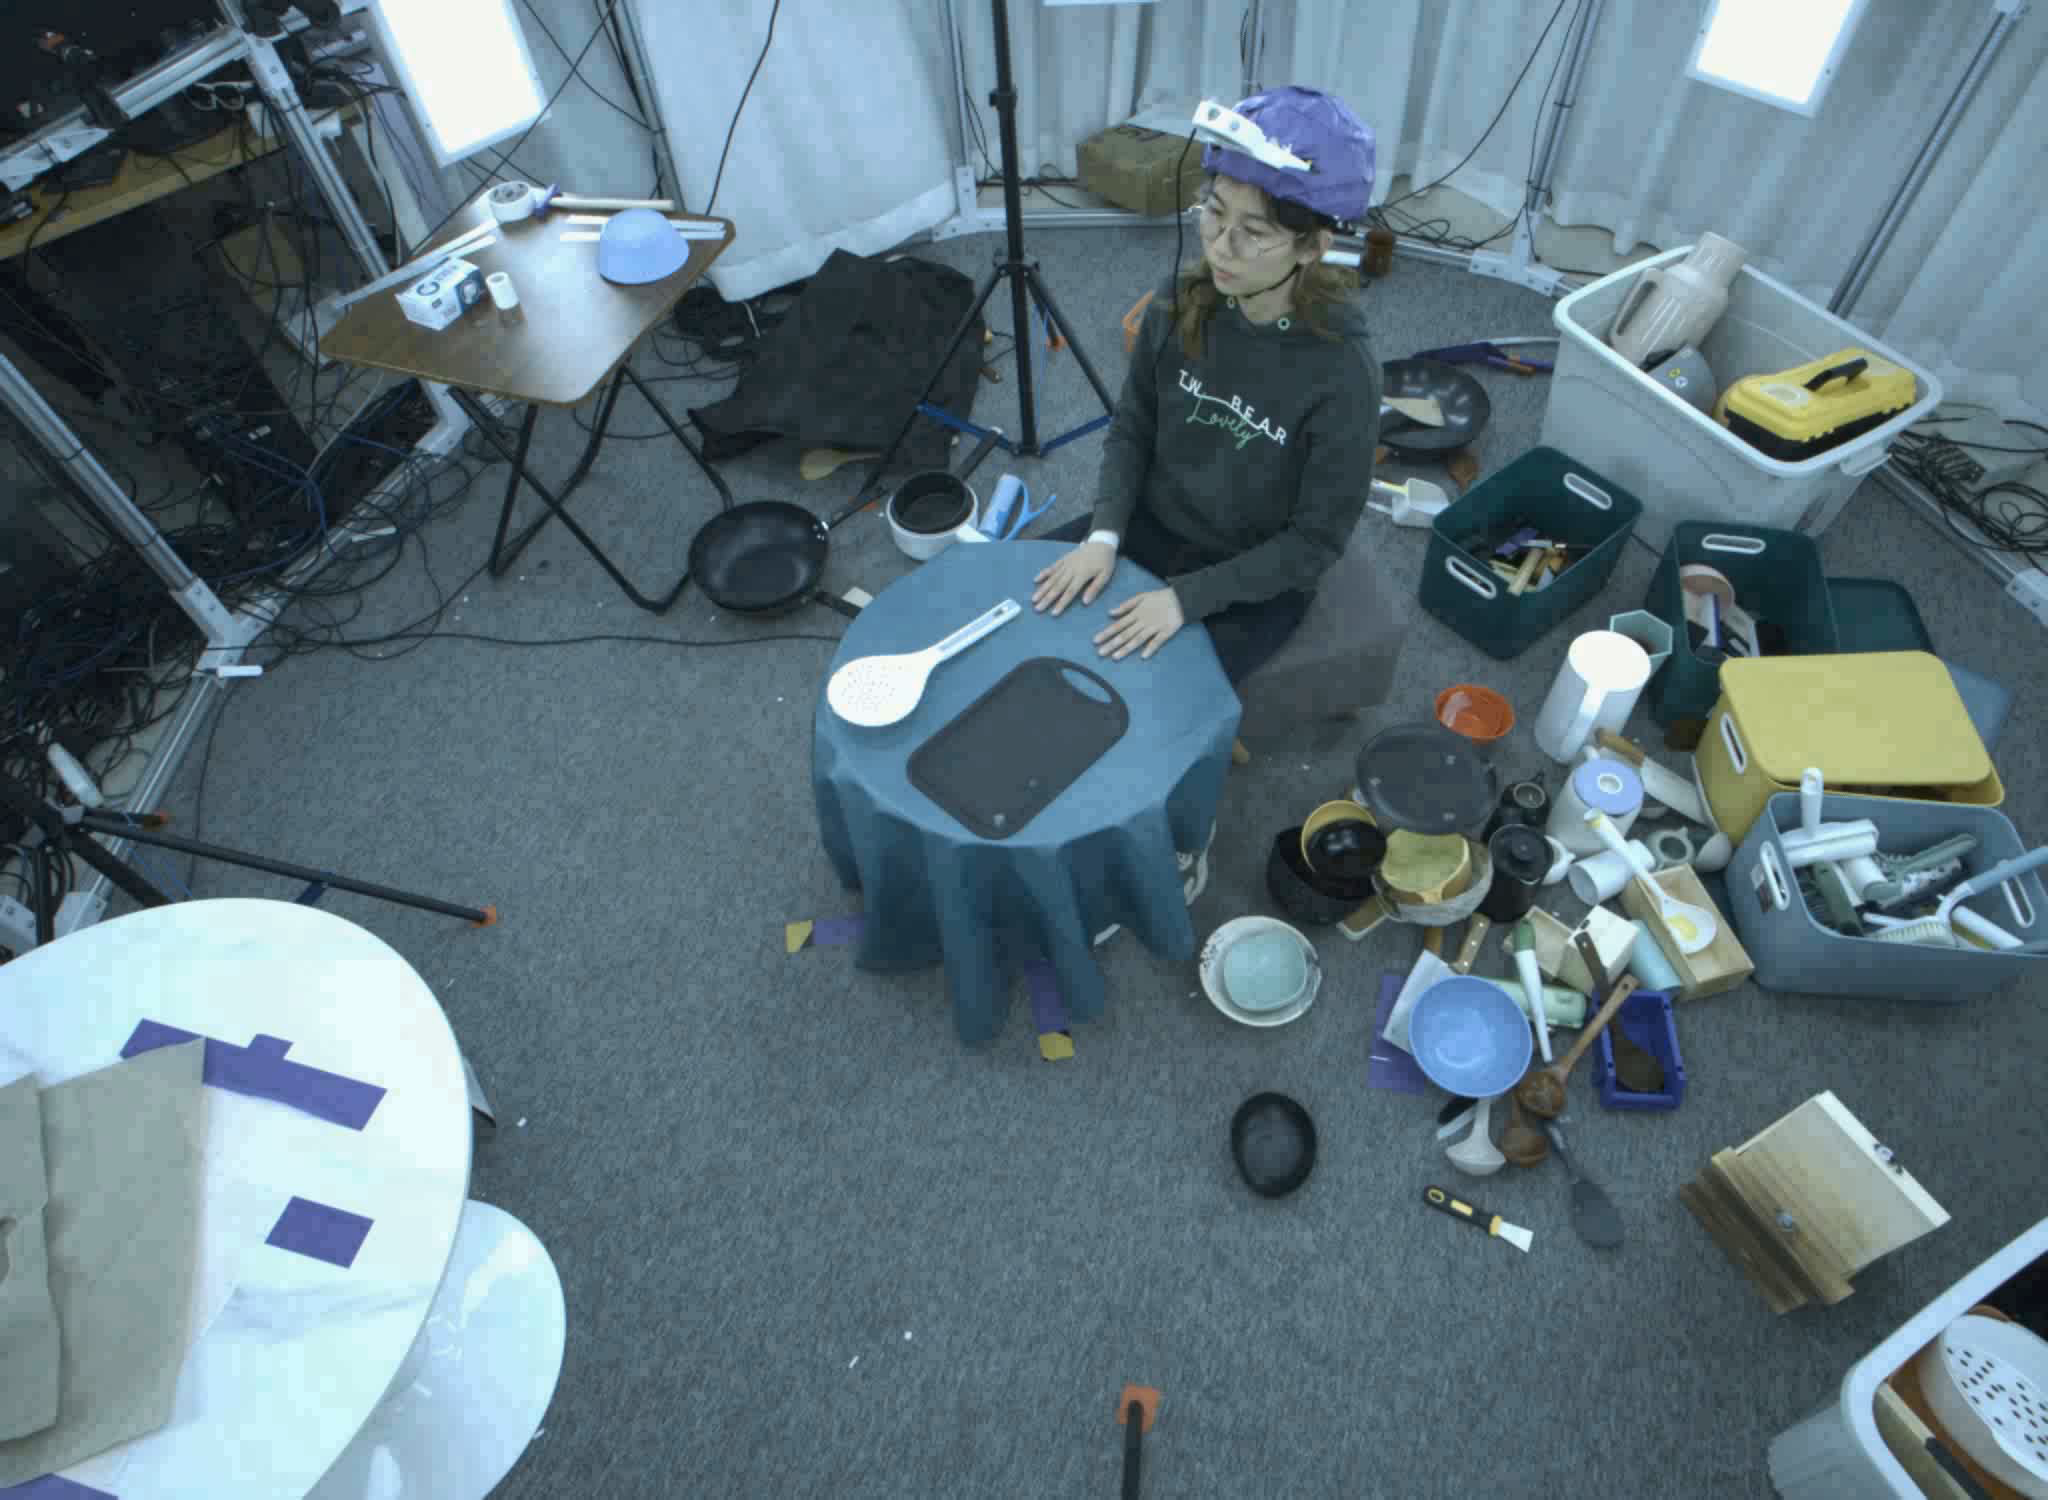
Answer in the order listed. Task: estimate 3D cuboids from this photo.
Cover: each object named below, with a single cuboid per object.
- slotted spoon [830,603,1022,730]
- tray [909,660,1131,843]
[{"bbox_3d":[-0.140,-0.136,1.869,0.352,0.046,0.134,-37,64,-23],"label":"slotted spoon"},{"bbox_3d":[0.001,-0.011,1.801,0.207,0.010,0.327,38,63,24],"label":"tray"}]
